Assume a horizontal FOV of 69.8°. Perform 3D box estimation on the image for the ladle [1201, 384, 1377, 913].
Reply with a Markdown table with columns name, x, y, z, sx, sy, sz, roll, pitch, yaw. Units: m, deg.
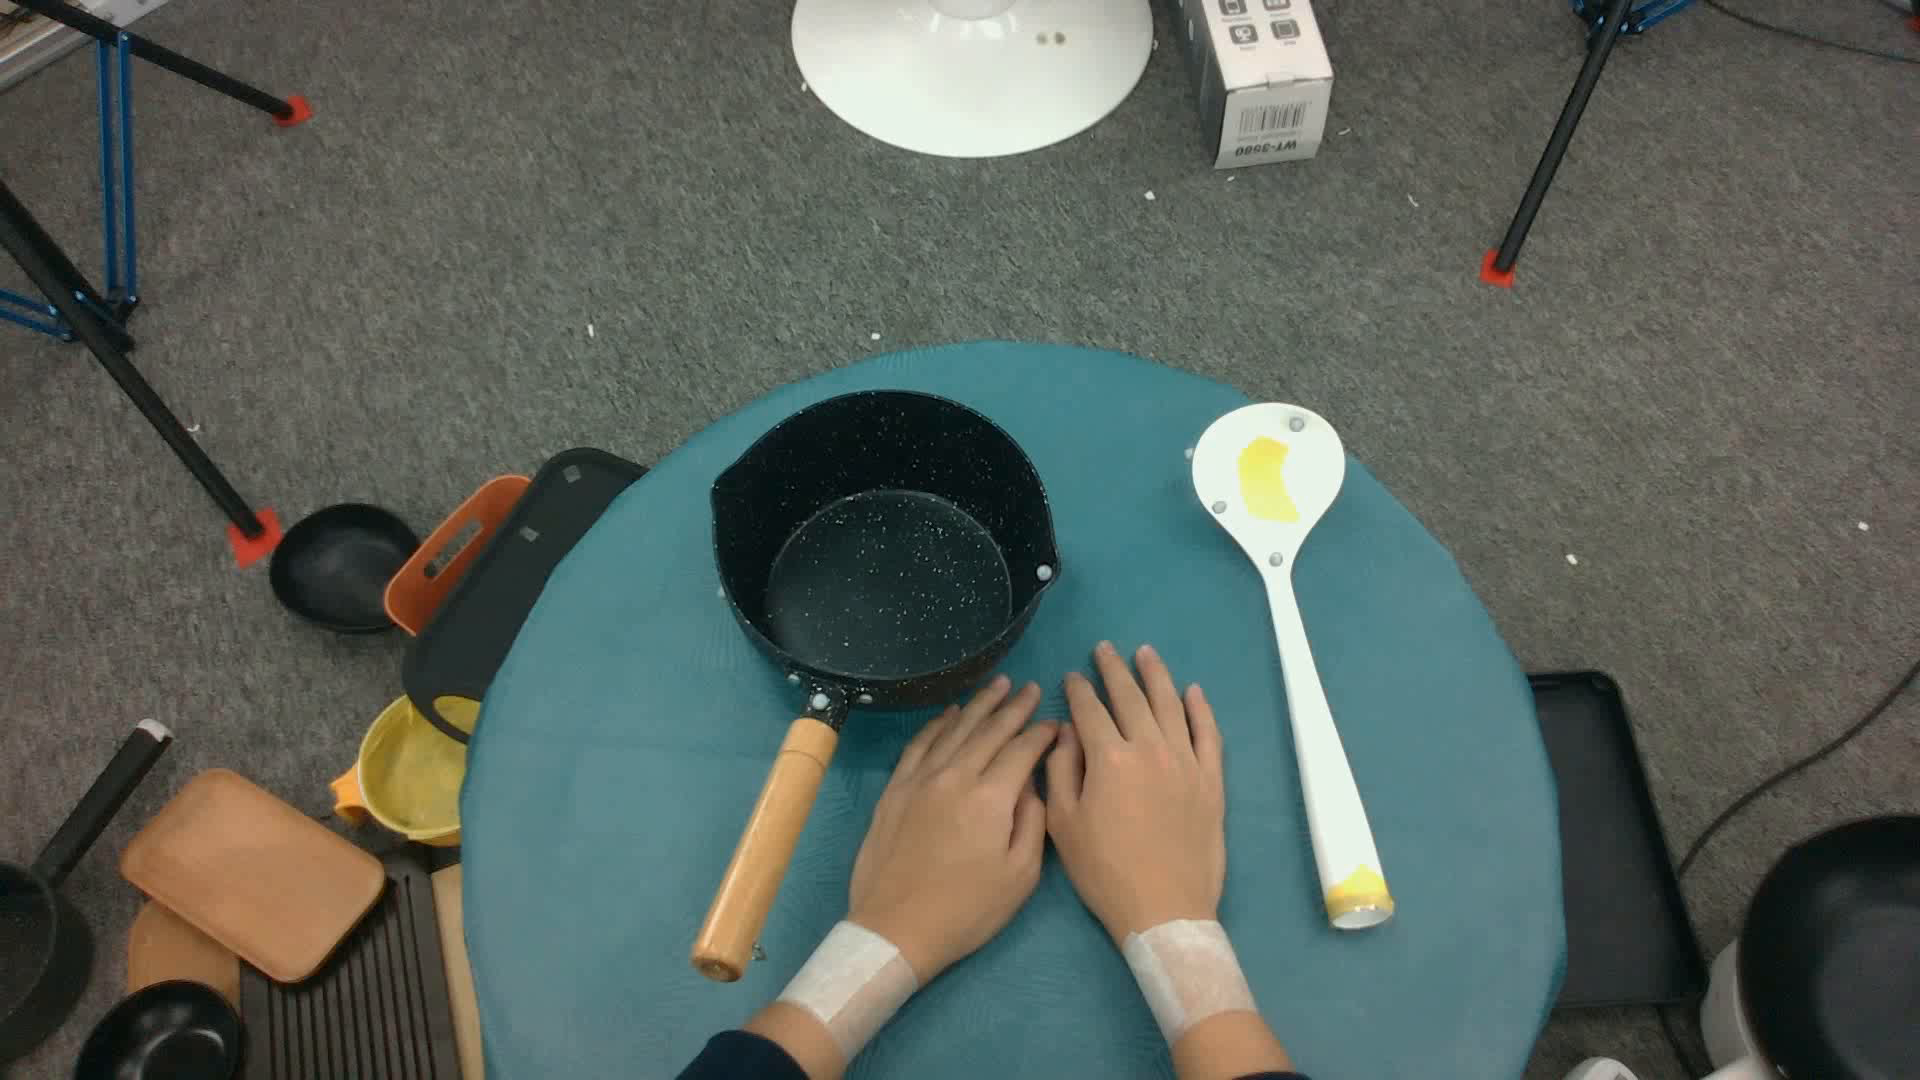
| name | x | y | z | sx | sy | sz | roll | pitch | yaw |
| --- | --- | --- | --- | --- | --- | --- | --- | --- | --- |
| ladle | 0.193 | 0.052 | 0.768 | 0.090 | 0.069 | 0.294 | 0 | 61 | -7 |

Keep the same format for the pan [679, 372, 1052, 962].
| name | x | y | z | sx | sy | sz | roll | pitch | yaw |
| --- | --- | --- | --- | --- | --- | --- | --- | --- | --- |
| pan | -0.068 | 0.066 | 0.732 | 0.207 | 0.108 | 0.344 | 13 | 59 | 6 |
